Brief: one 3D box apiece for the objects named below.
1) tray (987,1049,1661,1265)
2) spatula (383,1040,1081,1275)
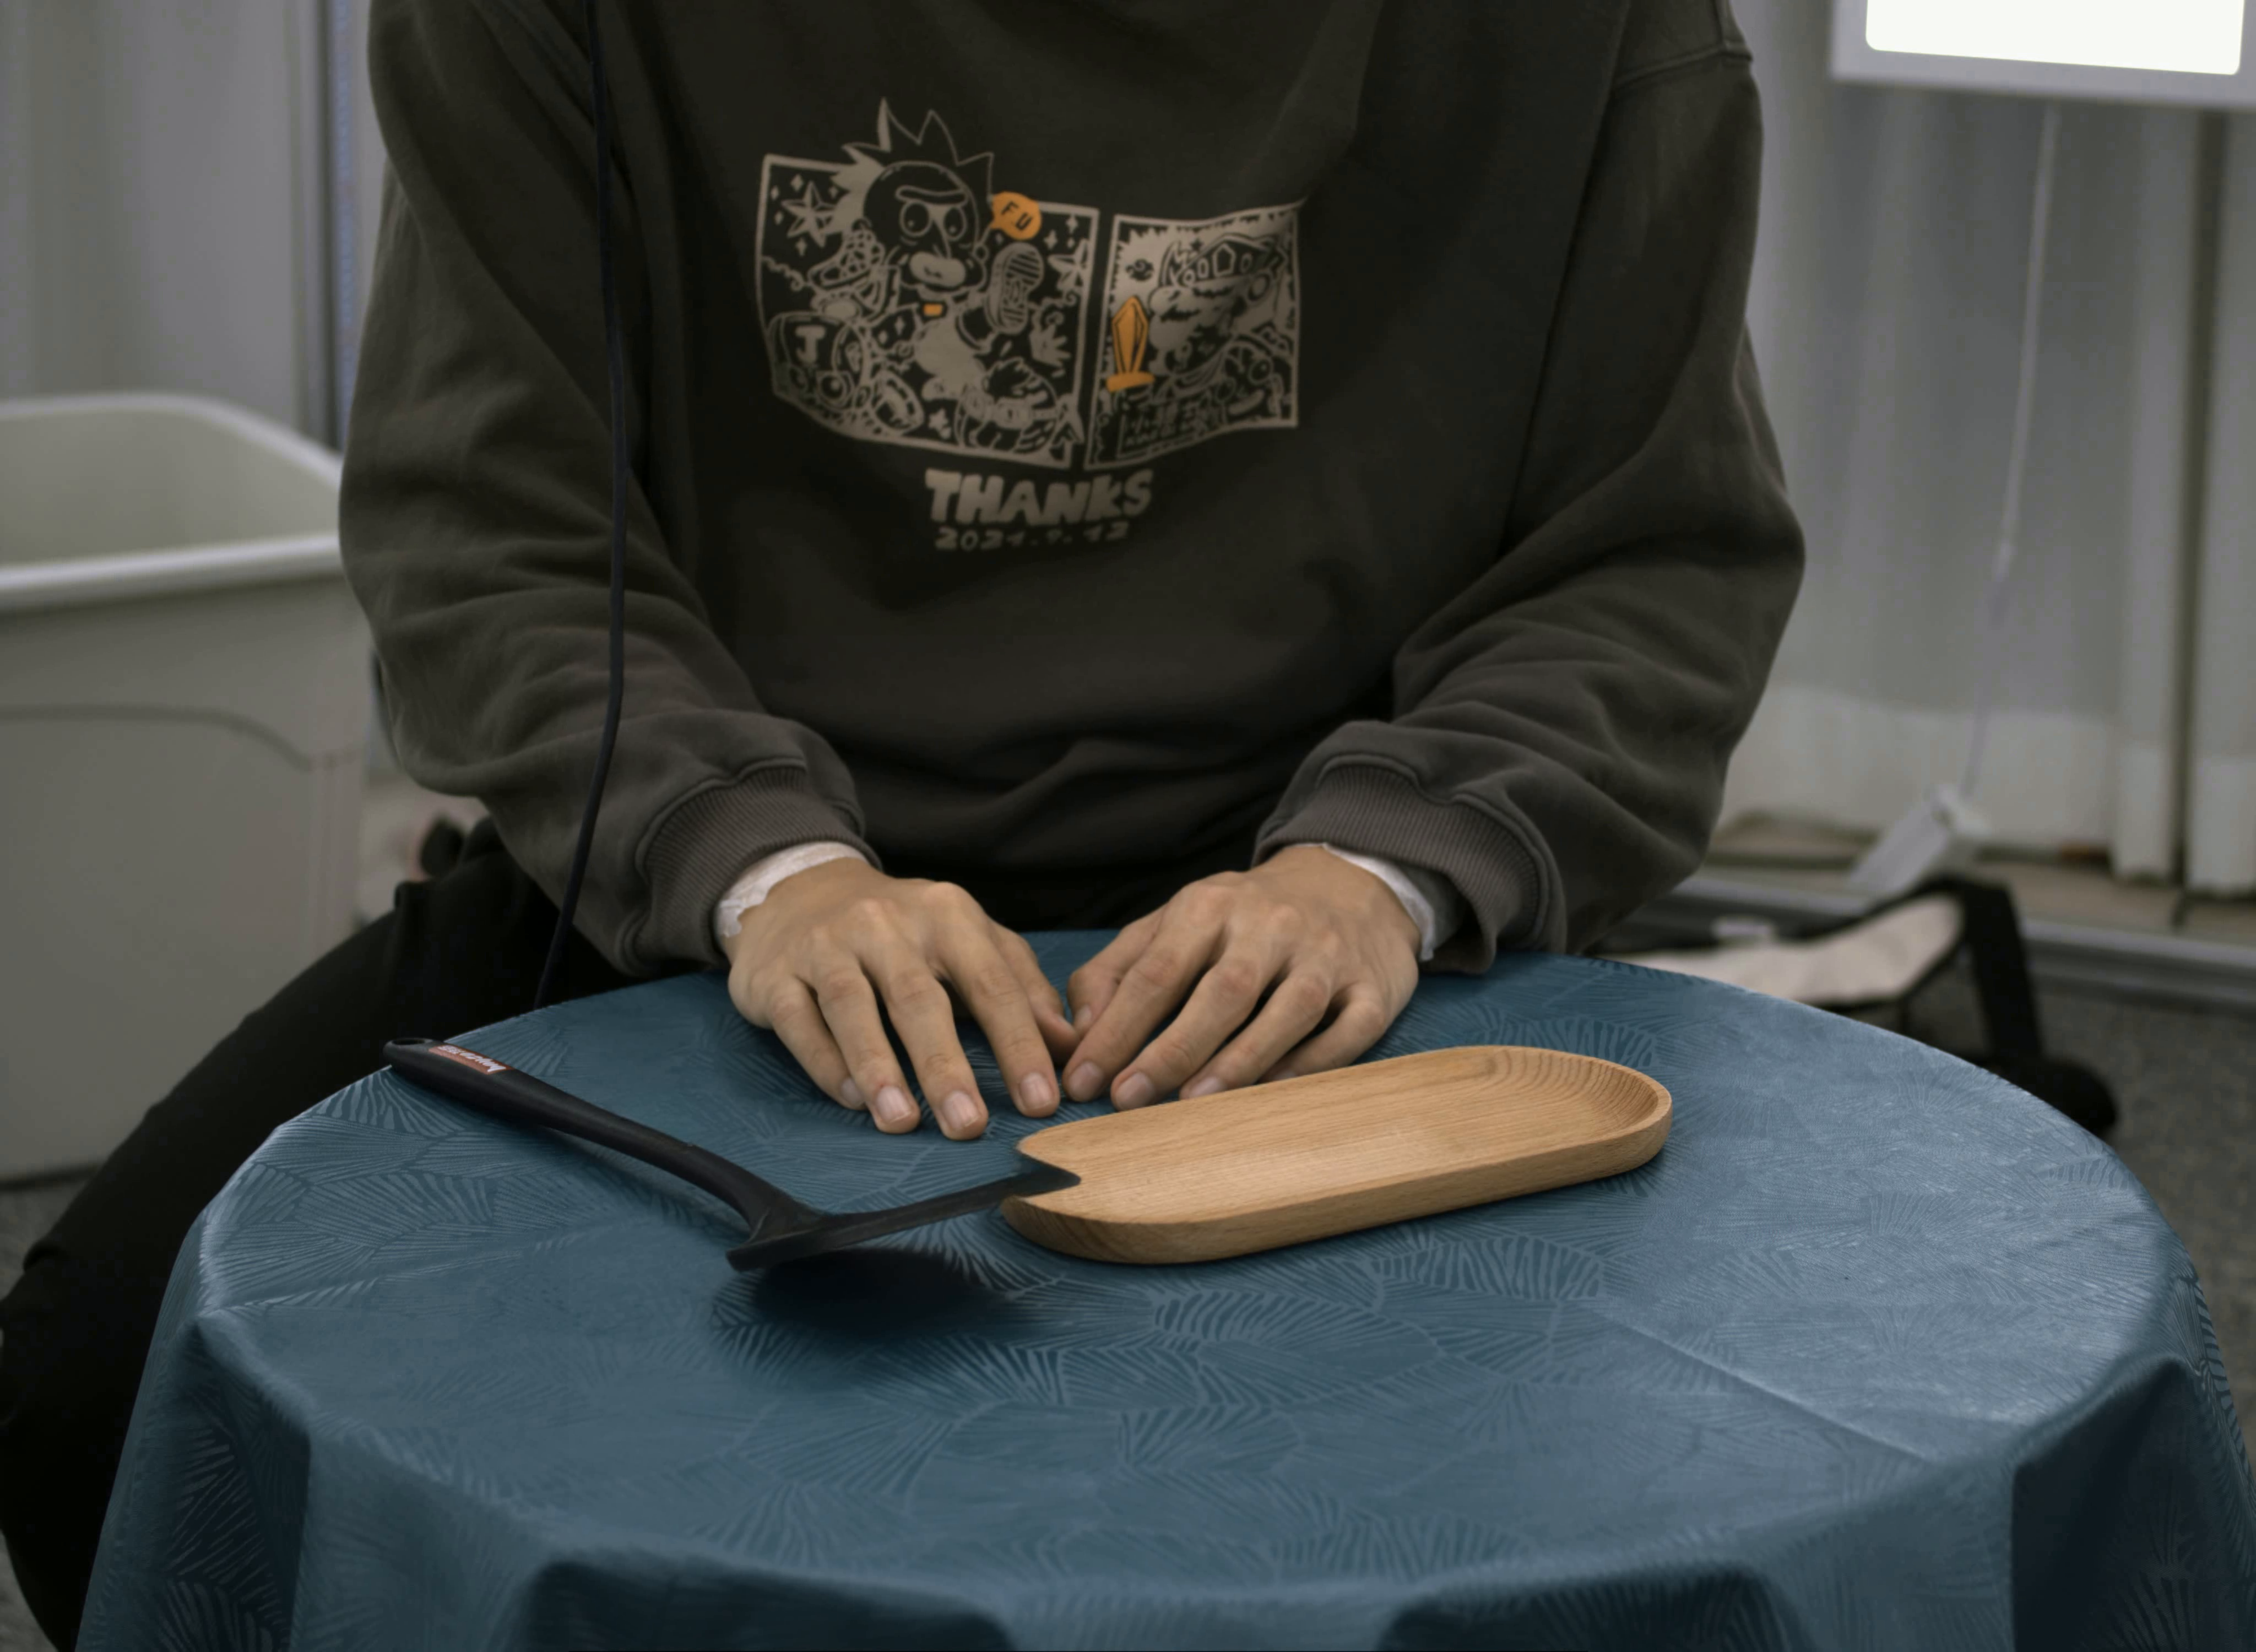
[{"bbox_3d":[0.063,0.103,1.639,0.232,0.020,0.100,-10,18,-31],"label":"tray"},{"bbox_3d":[-0.145,0.094,1.623,0.100,0.040,0.322,-10,19,-37],"label":"spatula"}]
